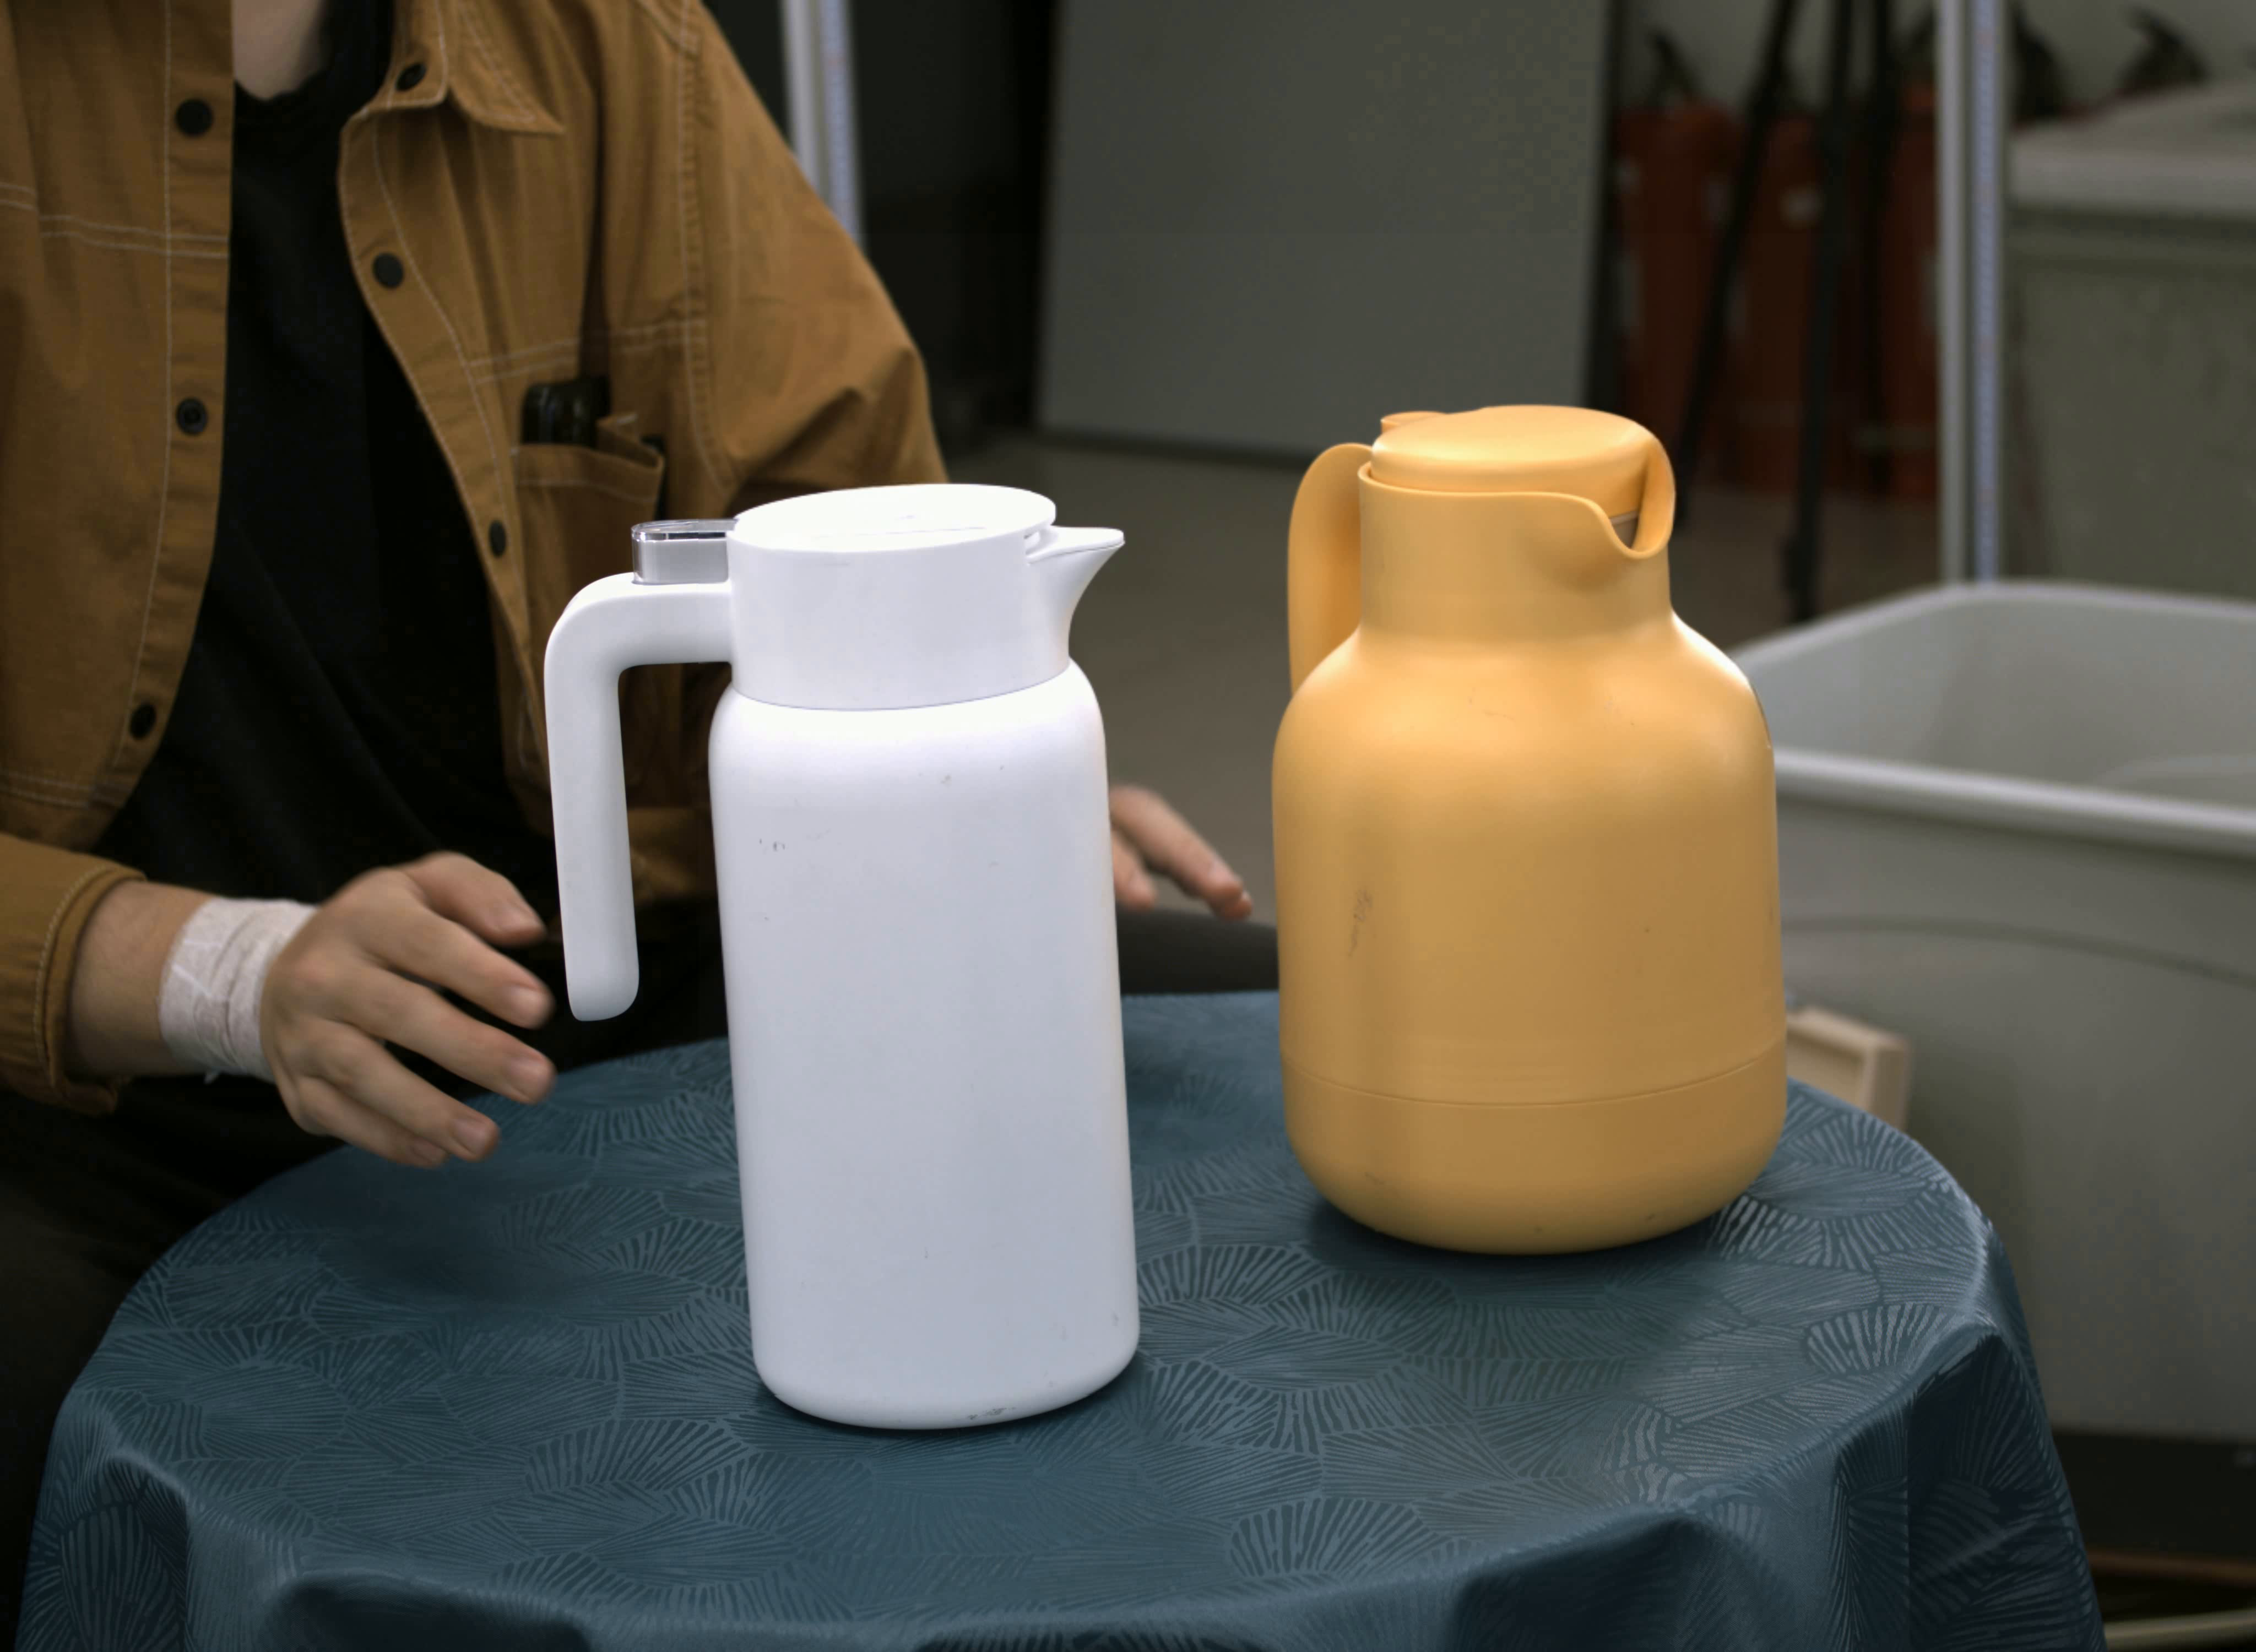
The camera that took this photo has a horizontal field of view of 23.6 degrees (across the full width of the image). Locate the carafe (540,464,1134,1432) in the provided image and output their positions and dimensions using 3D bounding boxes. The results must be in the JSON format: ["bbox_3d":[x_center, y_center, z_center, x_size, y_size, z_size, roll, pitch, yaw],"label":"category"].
[{"bbox_3d":[-0.080,0.036,1.584,0.171,0.272,0.124,-3,15,3],"label":"carafe"}]

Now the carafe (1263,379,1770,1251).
[{"bbox_3d":[0.115,-0.011,1.720,0.160,0.263,0.204,-7,15,-25],"label":"carafe"}]
